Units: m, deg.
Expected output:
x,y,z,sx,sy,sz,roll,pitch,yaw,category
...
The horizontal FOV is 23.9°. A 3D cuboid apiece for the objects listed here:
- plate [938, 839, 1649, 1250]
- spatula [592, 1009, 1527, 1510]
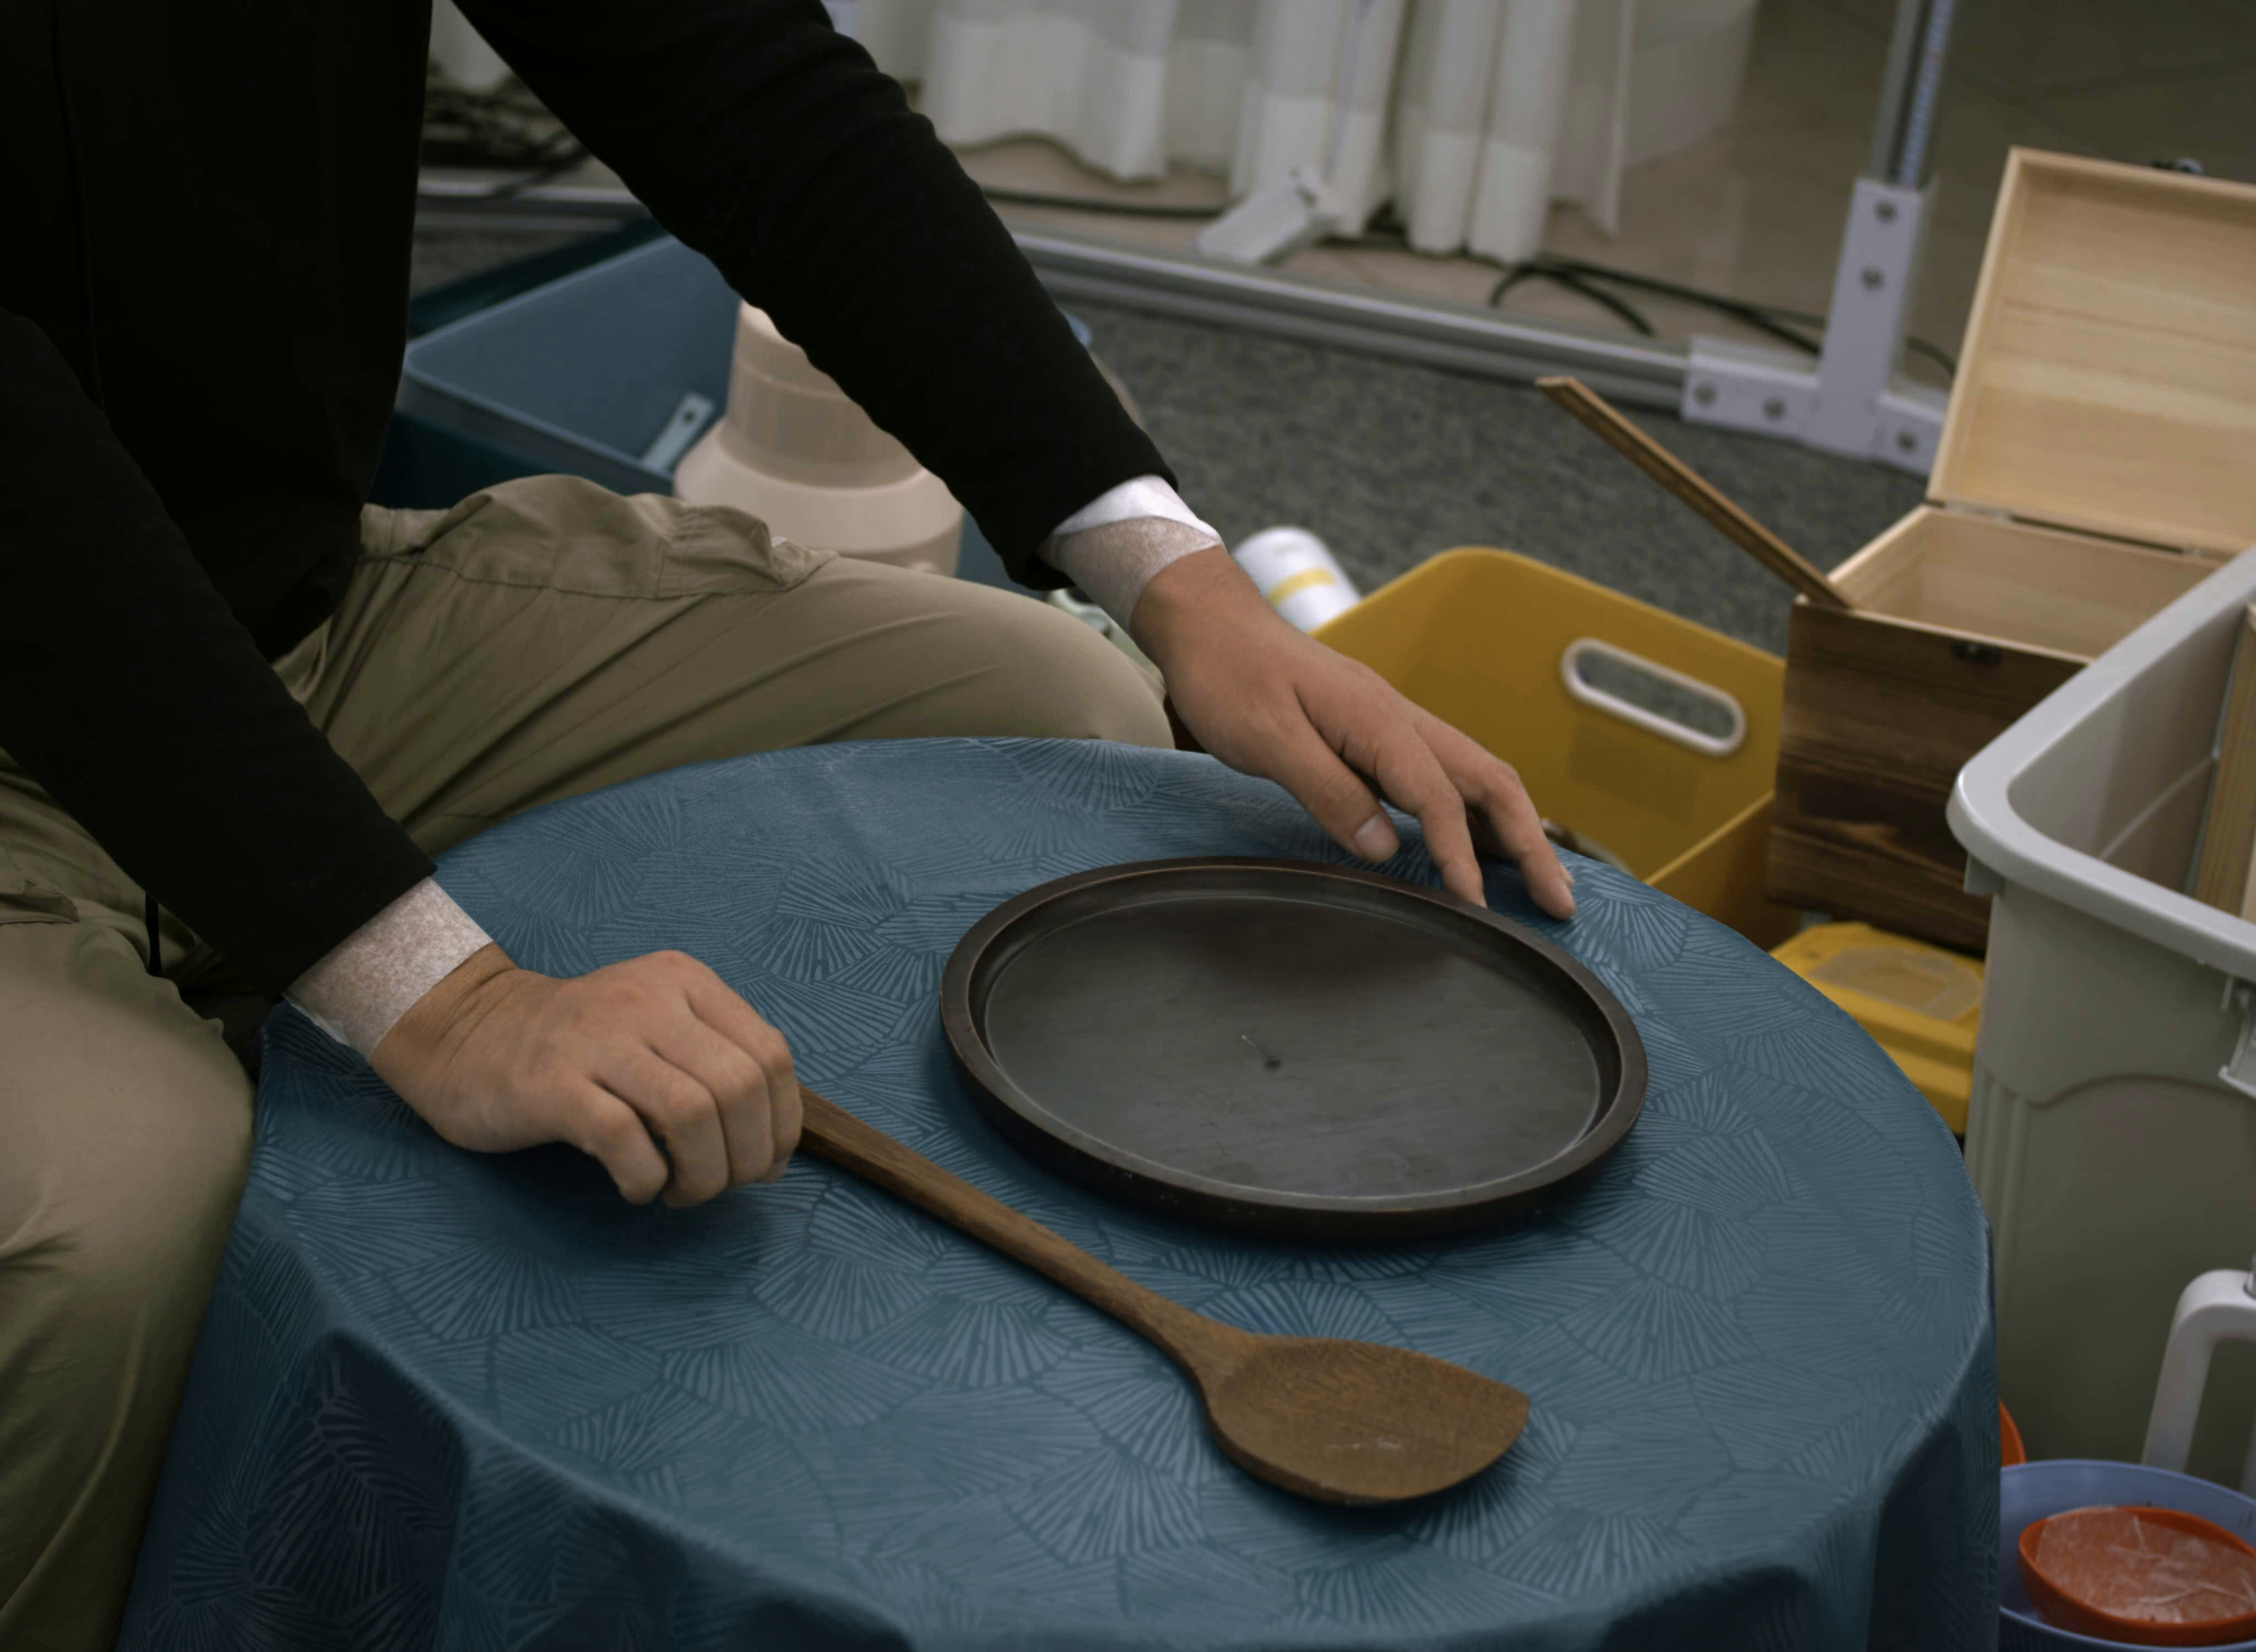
x,y,z,sx,sy,sz,roll,pitch,yaw,category
0.058,0.078,1.877,0.254,0.029,0.256,4,28,-2,plate
-0.039,0.135,1.755,0.388,0.016,0.095,26,32,33,spatula
